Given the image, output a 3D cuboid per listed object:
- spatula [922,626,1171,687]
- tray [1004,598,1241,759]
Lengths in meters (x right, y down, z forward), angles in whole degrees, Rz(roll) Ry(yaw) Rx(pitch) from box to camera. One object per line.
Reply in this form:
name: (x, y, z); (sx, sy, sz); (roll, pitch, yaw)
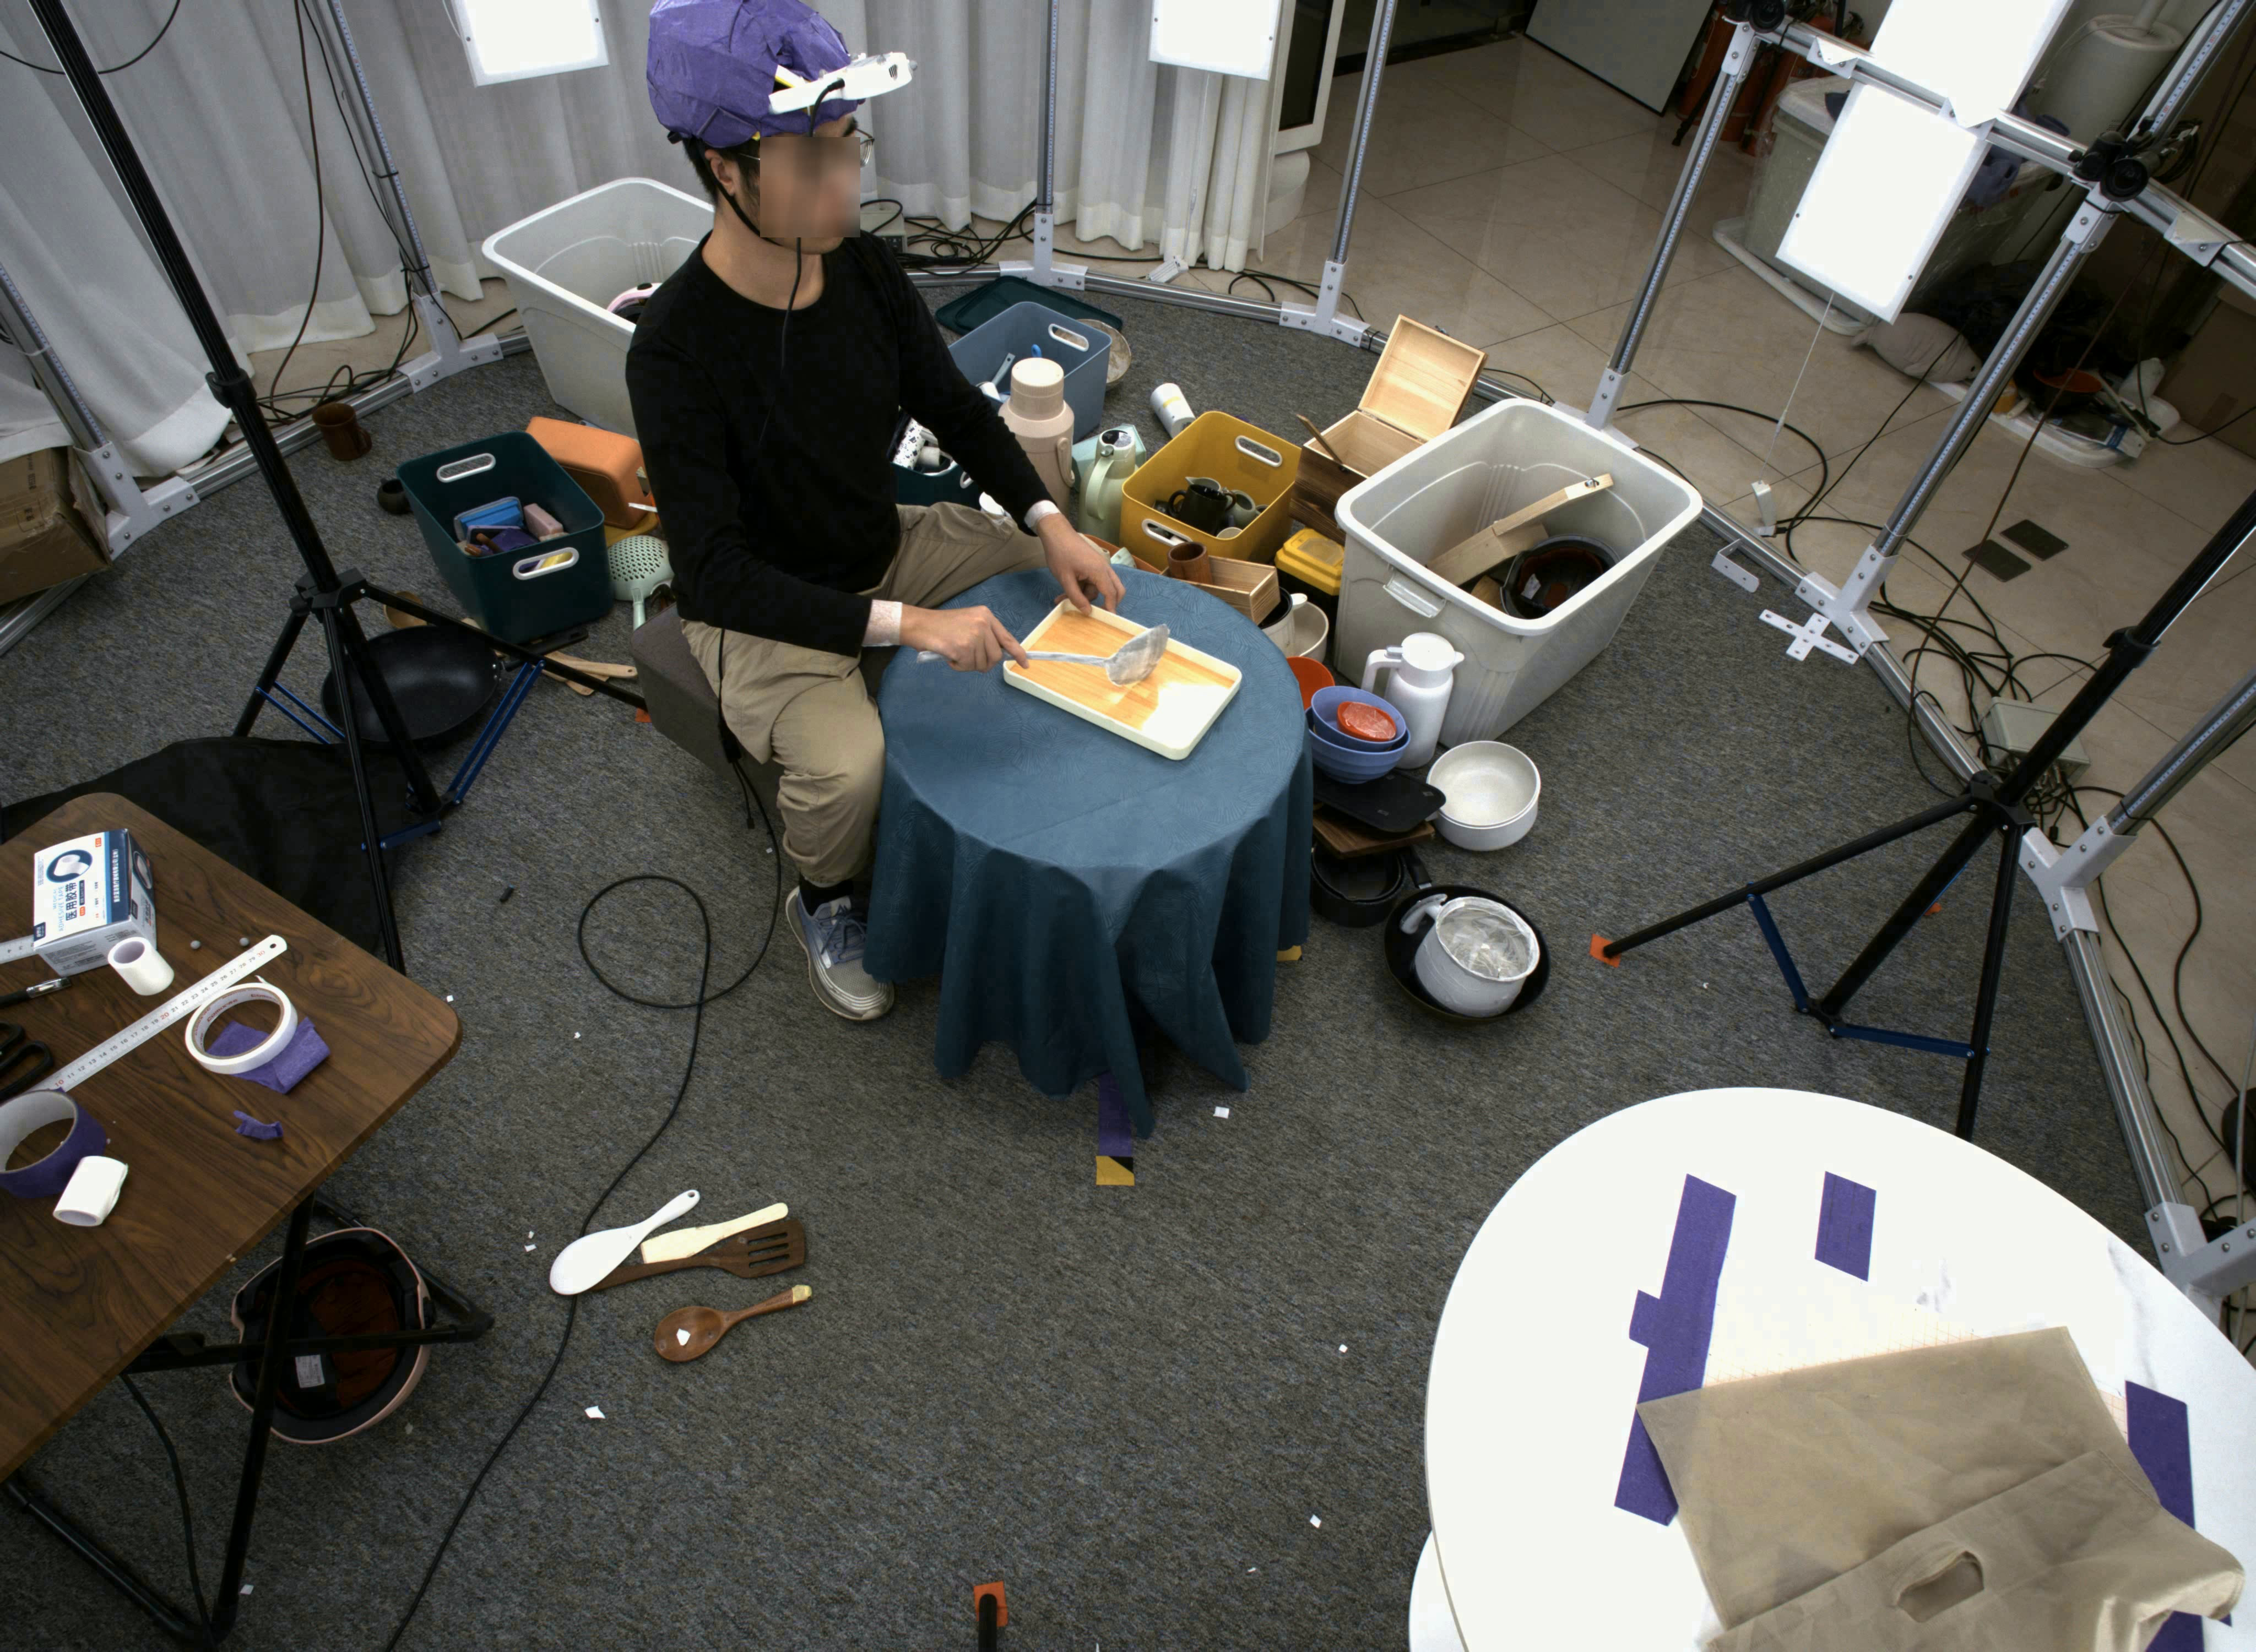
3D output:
spatula: (-0.103, -0.230, 1.740); (0.363, 0.096, 0.046); (-1, 44, -24)
tray: (-0.008, -0.216, 1.839); (0.303, 0.027, 0.194); (26, 52, 18)
